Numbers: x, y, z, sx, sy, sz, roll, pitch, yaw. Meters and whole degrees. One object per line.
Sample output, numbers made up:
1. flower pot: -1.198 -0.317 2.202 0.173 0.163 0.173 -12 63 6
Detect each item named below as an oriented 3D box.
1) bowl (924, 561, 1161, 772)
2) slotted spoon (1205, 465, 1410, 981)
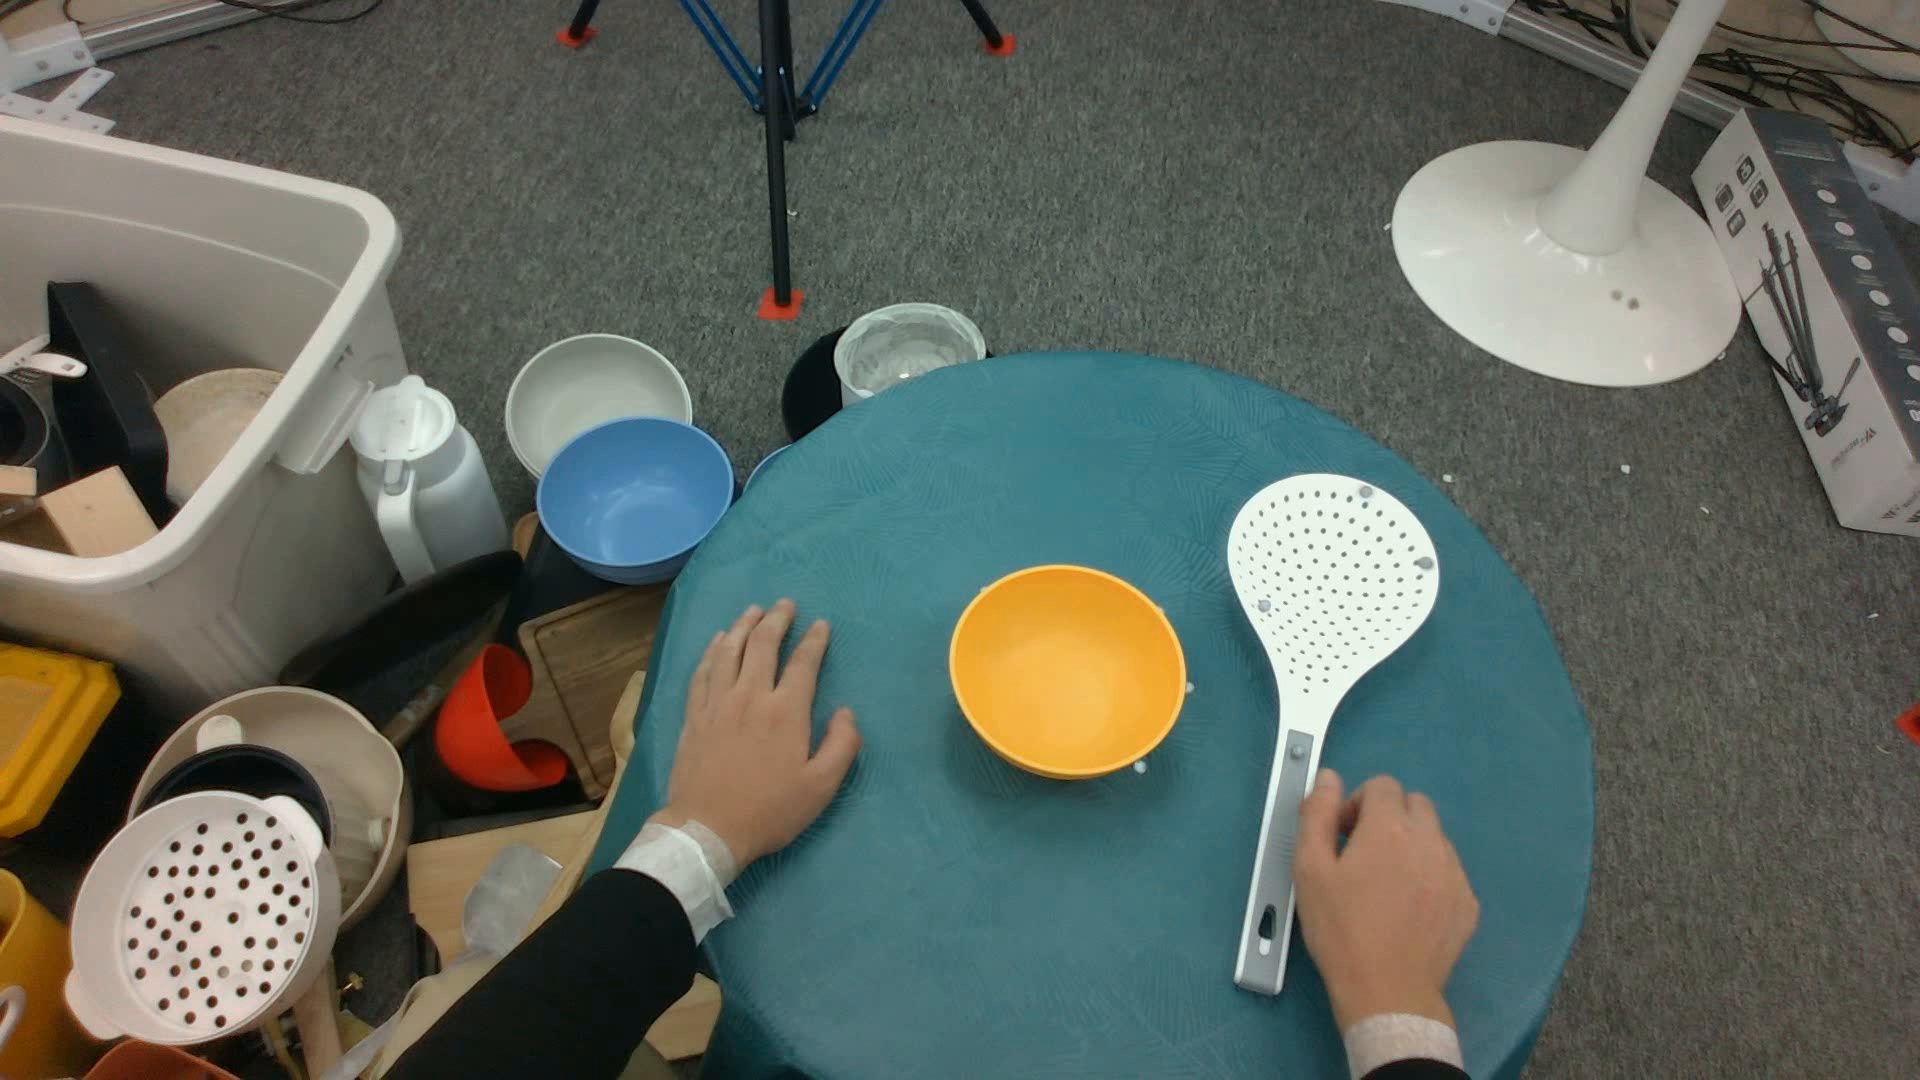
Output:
1. bowl: 0.049 0.087 0.853 0.145 0.060 0.146 2 54 -2
2. slotted spoon: 0.201 0.101 0.864 0.136 0.045 0.351 14 56 7
